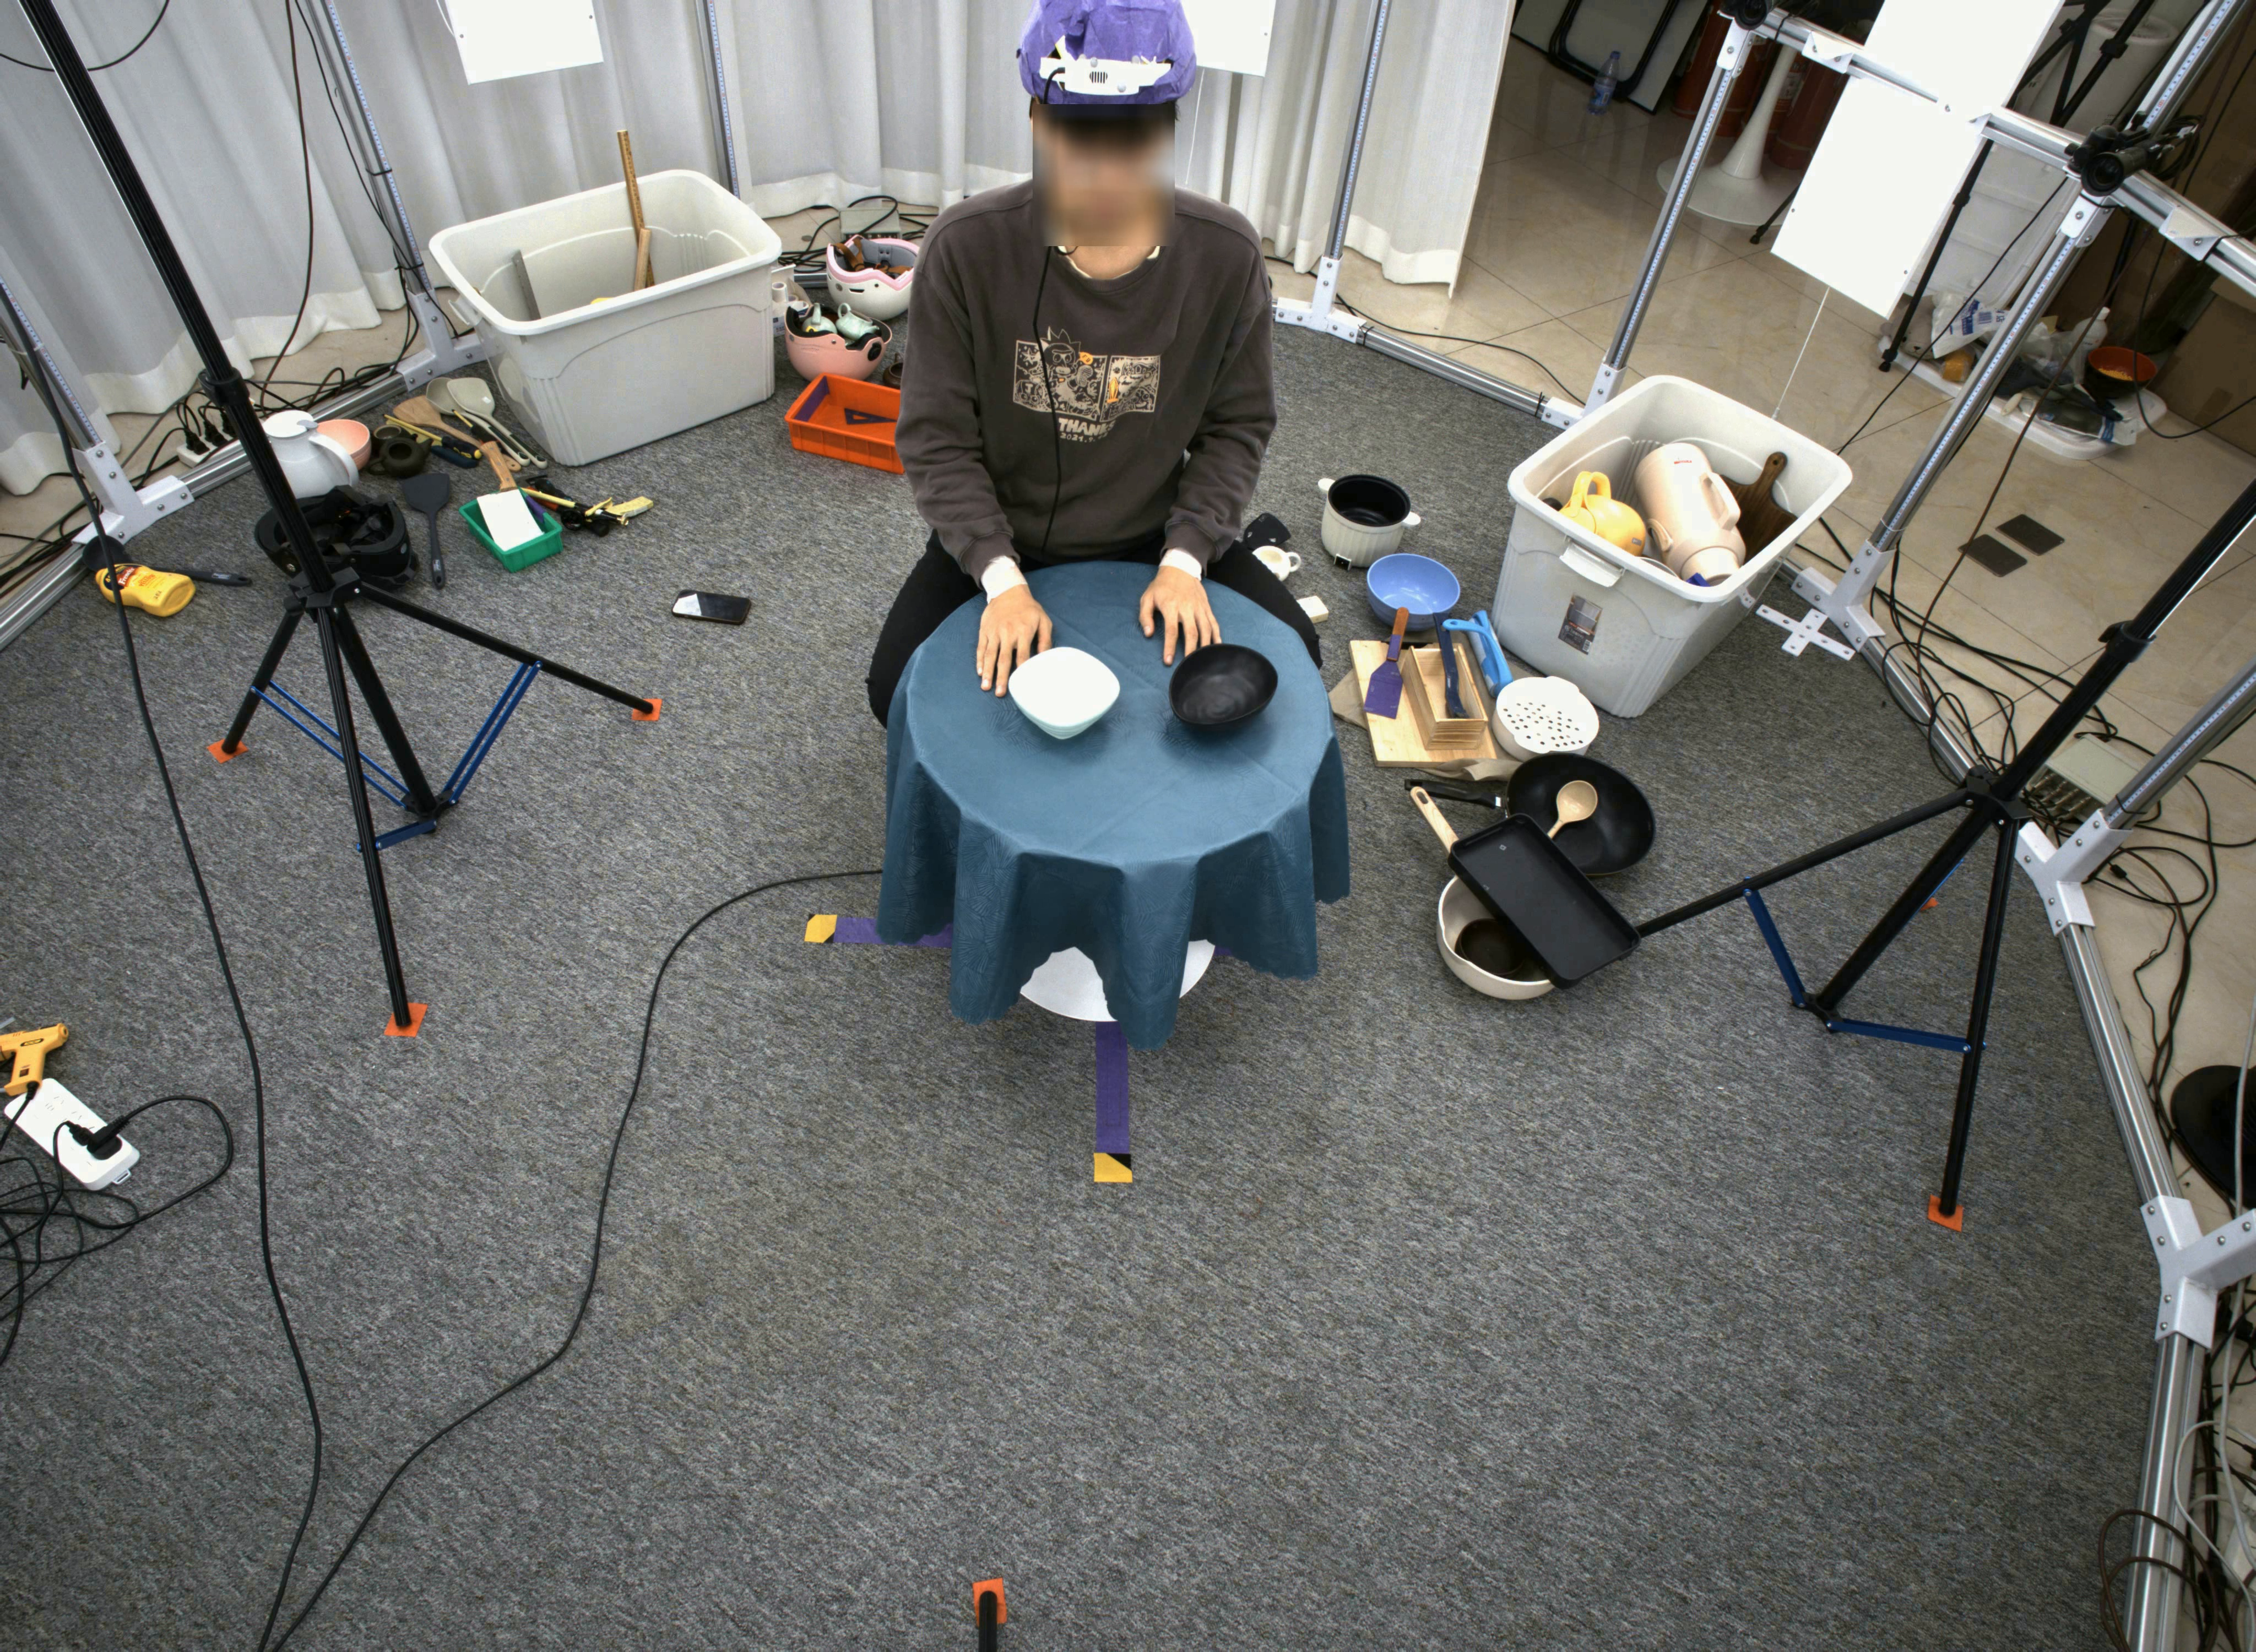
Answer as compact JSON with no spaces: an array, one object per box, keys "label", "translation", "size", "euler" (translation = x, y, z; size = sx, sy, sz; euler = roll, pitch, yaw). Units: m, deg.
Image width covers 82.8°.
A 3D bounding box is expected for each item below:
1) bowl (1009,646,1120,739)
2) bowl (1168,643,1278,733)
[{"label":"bowl","translation":[-0.089,-0.176,1.776],"size":[0.151,0.057,0.155],"euler":[2,51,-3]},{"label":"bowl","translation":[0.131,-0.180,1.790],"size":[0.139,0.065,0.172],"euler":[36,57,25]}]
